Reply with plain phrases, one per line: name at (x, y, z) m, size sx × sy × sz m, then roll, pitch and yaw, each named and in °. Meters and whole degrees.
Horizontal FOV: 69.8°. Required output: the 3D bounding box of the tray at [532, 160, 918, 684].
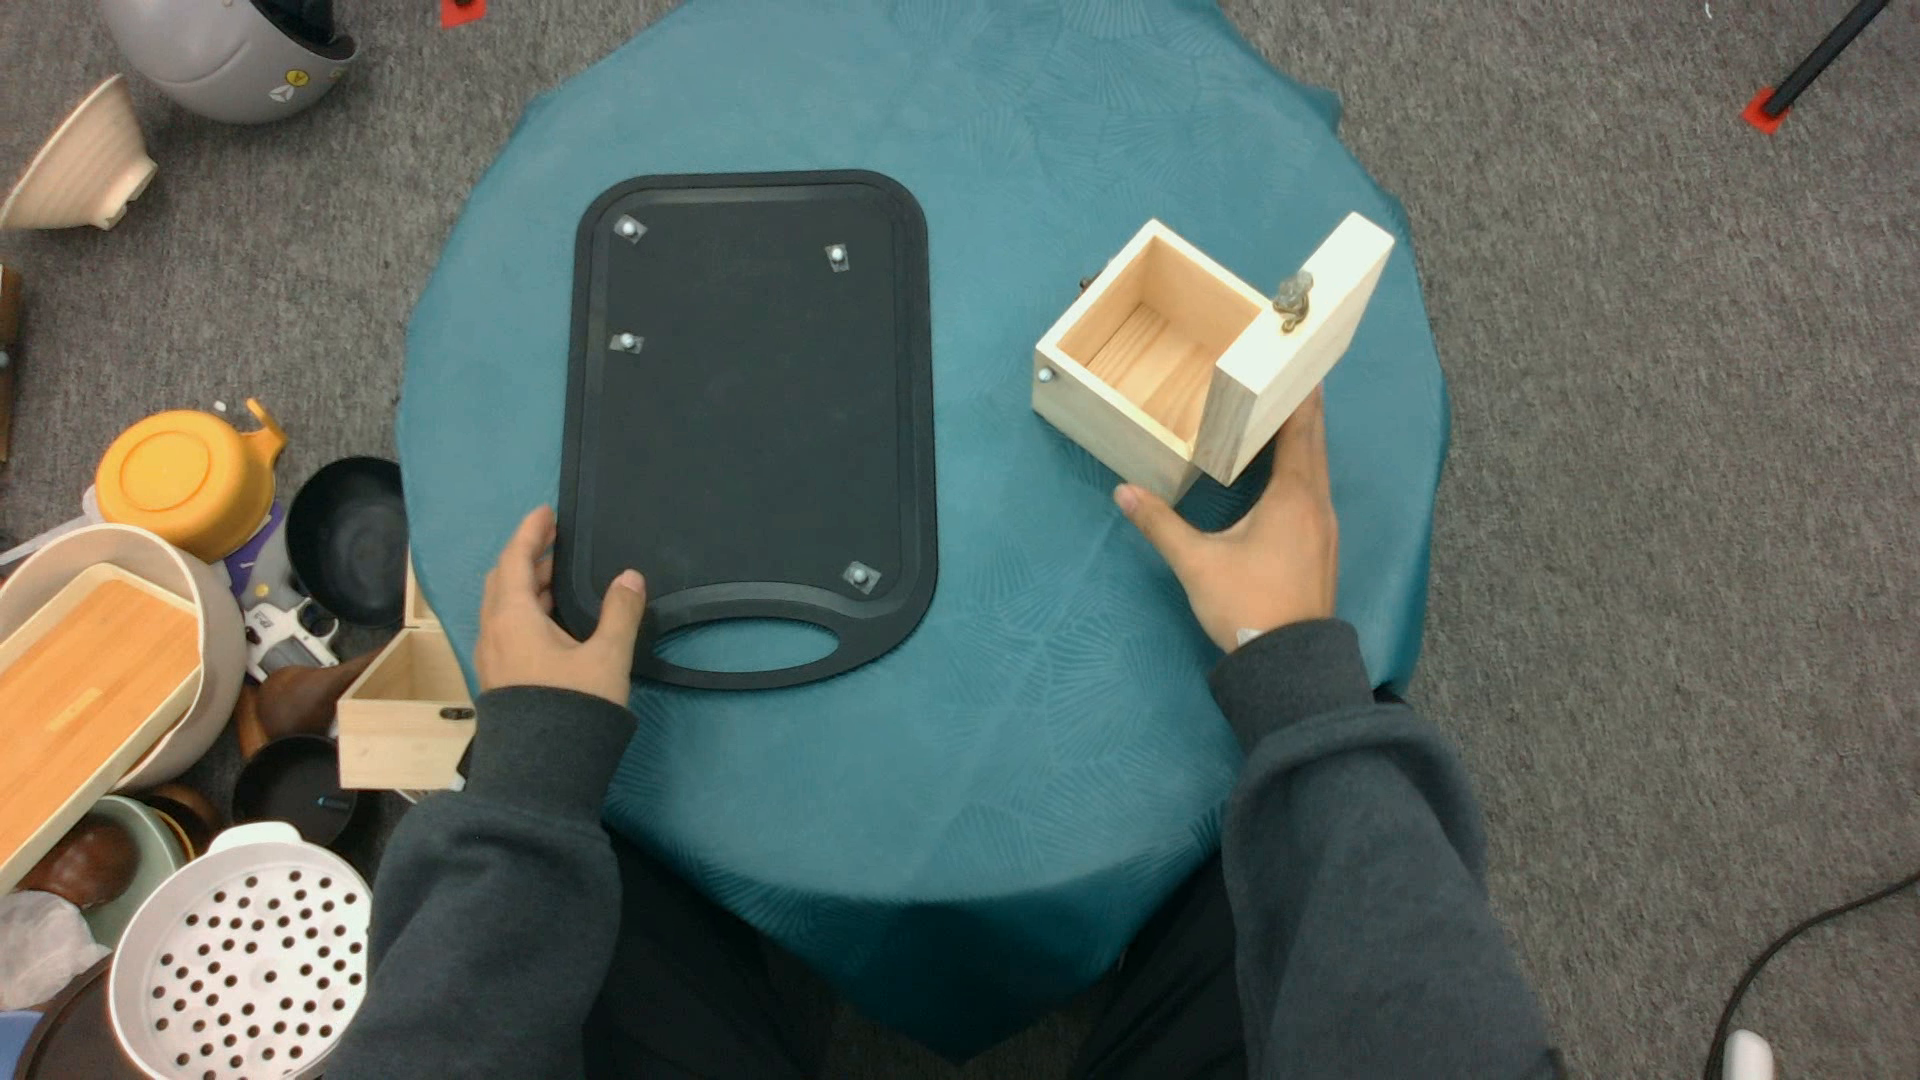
tray at (-0.131, -0.078, 0.783) m, size 0.211 × 0.010 × 0.326 m, roll -2°, pitch 70°, yaw -2°

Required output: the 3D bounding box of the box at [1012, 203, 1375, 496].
box at (0.107, -0.113, 0.703) m, size 0.134 × 0.184 × 0.103 m, roll 38°, pitch 75°, yaw 11°
